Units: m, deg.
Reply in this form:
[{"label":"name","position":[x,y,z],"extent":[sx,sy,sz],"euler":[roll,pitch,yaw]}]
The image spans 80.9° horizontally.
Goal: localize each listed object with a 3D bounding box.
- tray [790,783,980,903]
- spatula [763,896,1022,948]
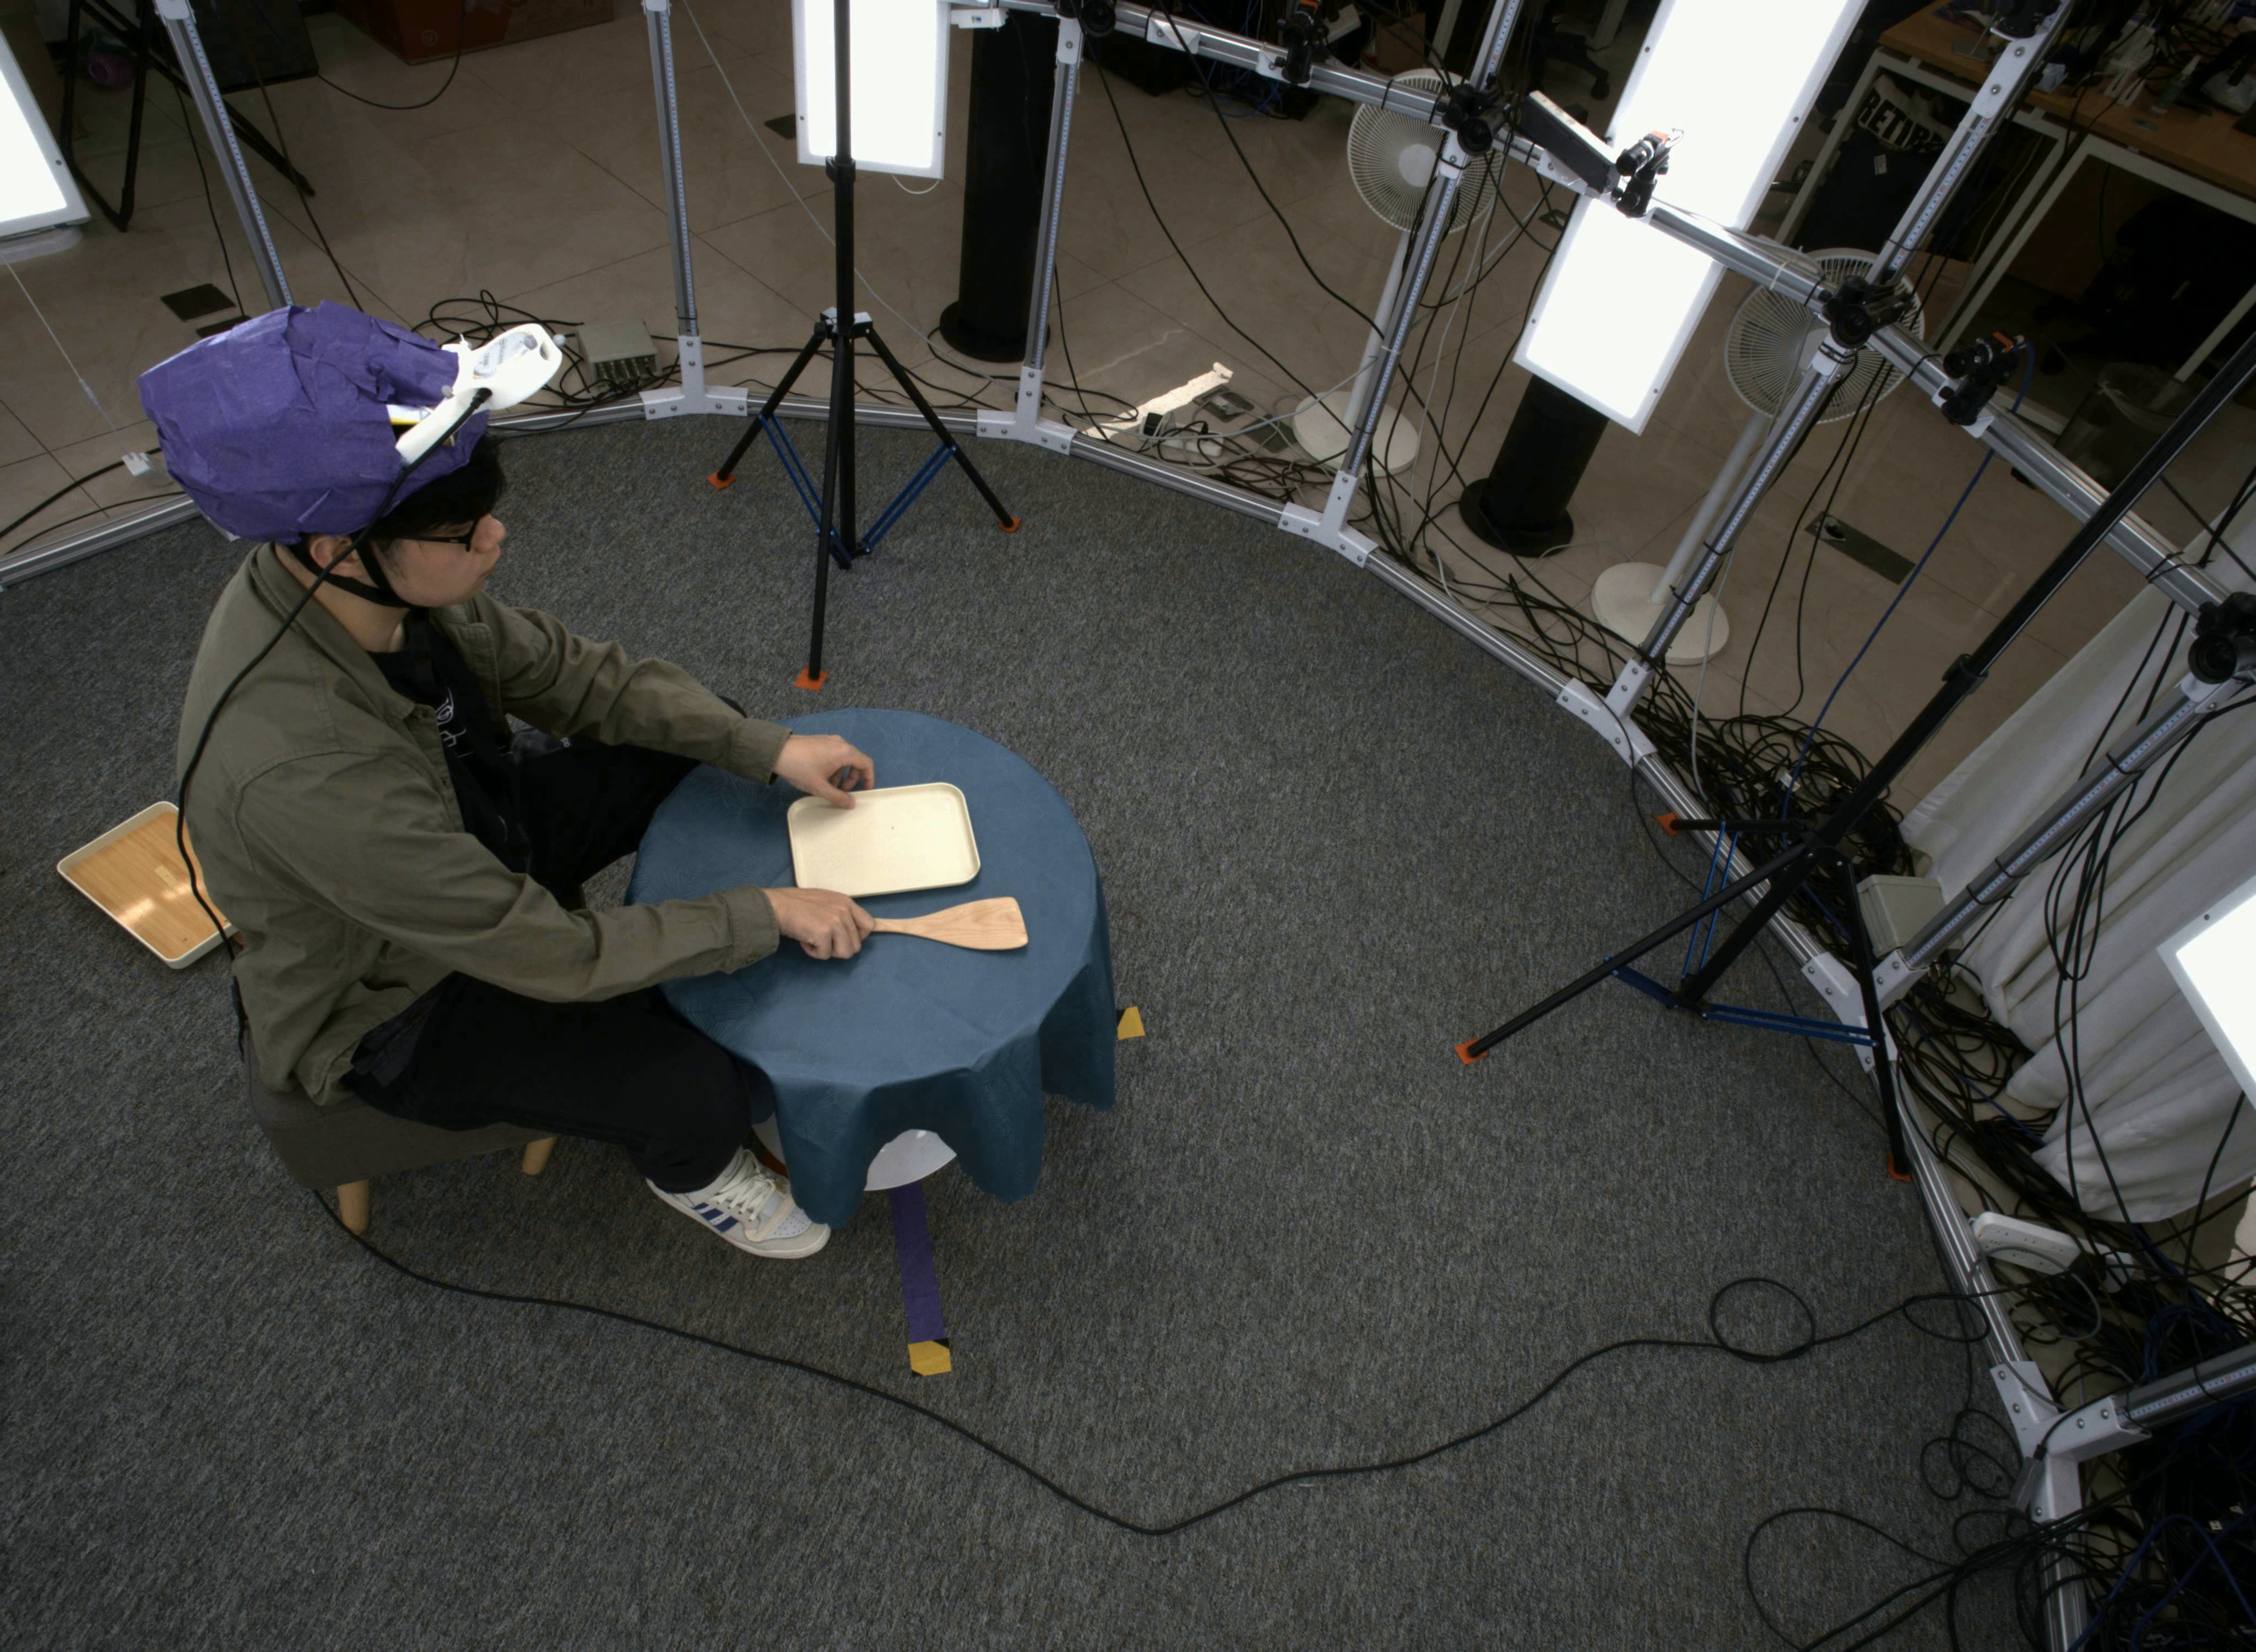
[{"label":"tray","position":[-0.325,0.022,1.738],"extent":[0.240,0.018,0.167],"euler":[-7,55,-17]},{"label":"spatula","position":[-0.301,0.123,1.669],"extent":[0.328,0.017,0.078],"euler":[1,53,-14]}]
